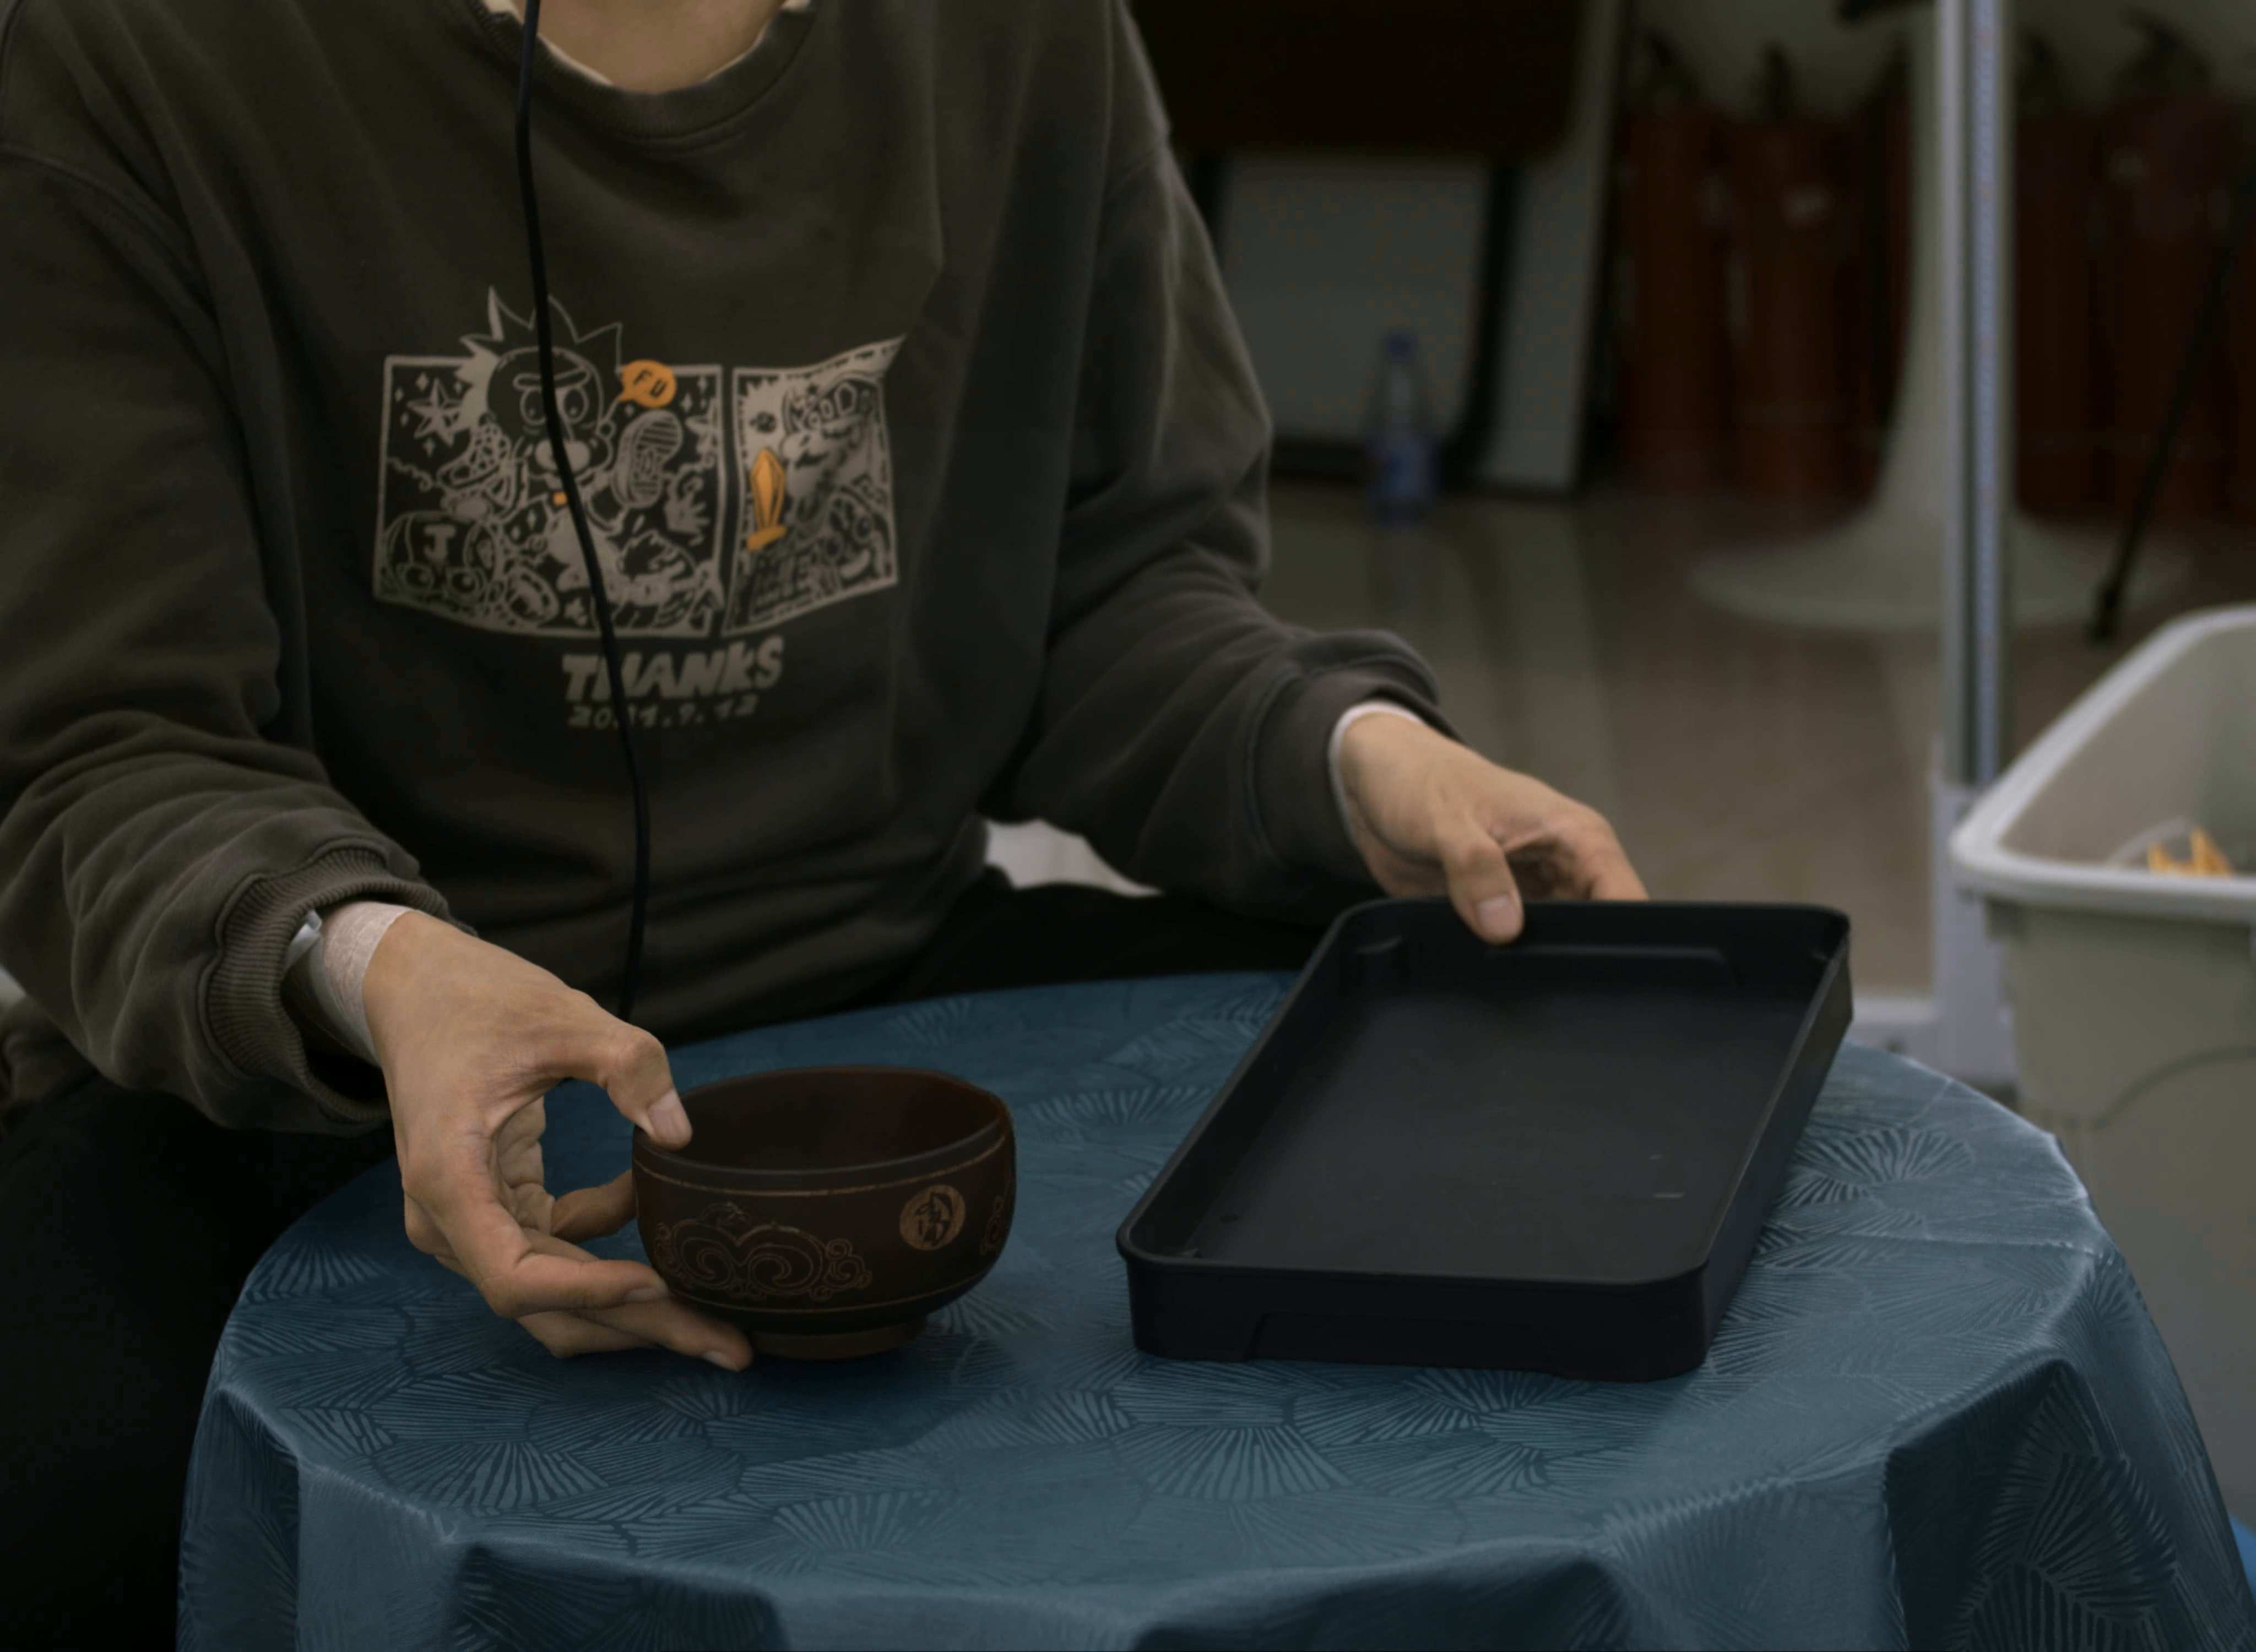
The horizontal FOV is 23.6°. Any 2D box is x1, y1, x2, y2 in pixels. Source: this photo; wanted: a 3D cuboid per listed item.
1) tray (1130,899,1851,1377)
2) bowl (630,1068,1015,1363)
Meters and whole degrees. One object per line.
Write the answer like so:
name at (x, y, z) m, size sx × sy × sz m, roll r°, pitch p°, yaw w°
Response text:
tray at (0.125, 0.094, 1.725) m, size 0.183 × 0.037 × 0.316 m, roll -1°, pitch 19°, yaw 17°
bowl at (-0.091, 0.121, 1.630) m, size 0.116 × 0.070 × 0.118 m, roll -4°, pitch 11°, yaw 0°
